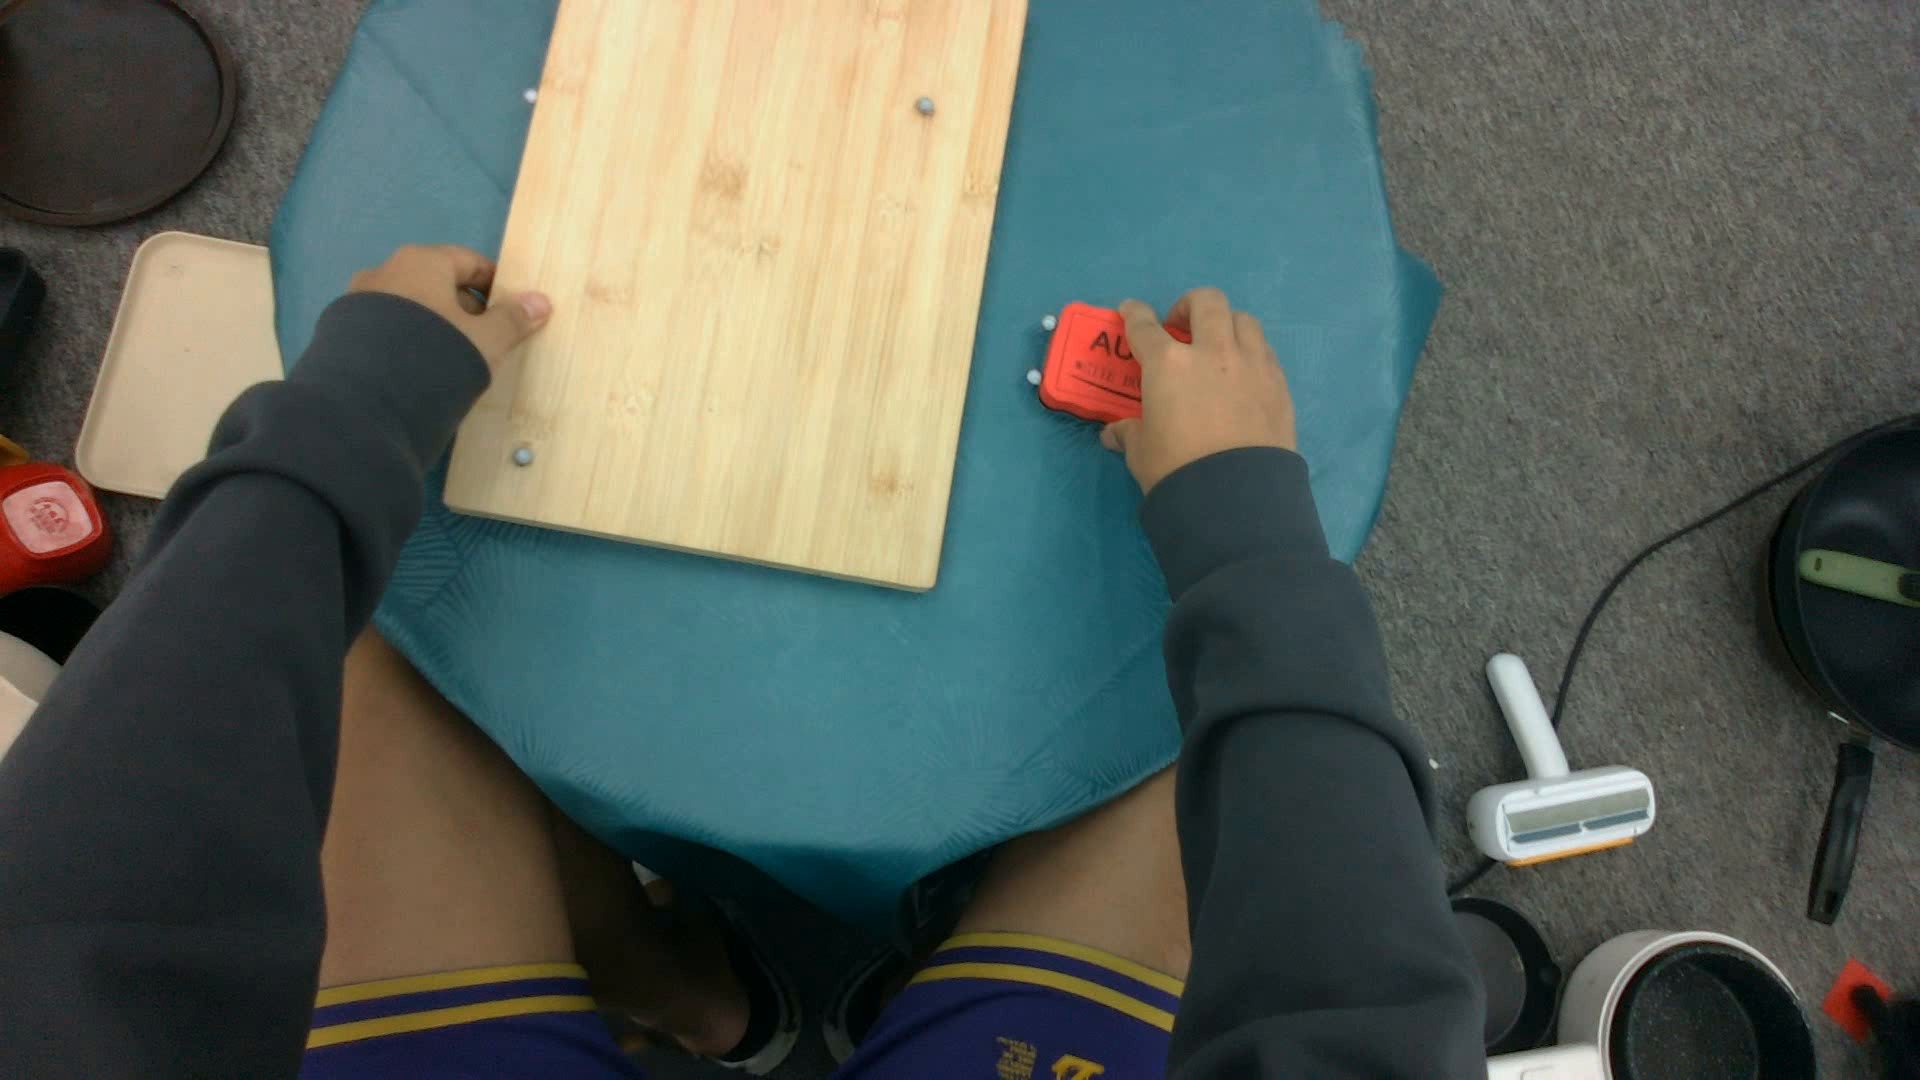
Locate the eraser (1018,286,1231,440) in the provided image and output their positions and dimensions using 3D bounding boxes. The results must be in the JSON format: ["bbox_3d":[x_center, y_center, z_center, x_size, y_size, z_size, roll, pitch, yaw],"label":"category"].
[{"bbox_3d":[0.088,-0.095,0.737,0.108,0.023,0.059,15,77,-6],"label":"eraser"}]

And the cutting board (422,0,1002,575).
[{"bbox_3d":[-0.116,-0.169,0.716,0.251,0.023,0.349,9,78,-11],"label":"cutting board"}]
